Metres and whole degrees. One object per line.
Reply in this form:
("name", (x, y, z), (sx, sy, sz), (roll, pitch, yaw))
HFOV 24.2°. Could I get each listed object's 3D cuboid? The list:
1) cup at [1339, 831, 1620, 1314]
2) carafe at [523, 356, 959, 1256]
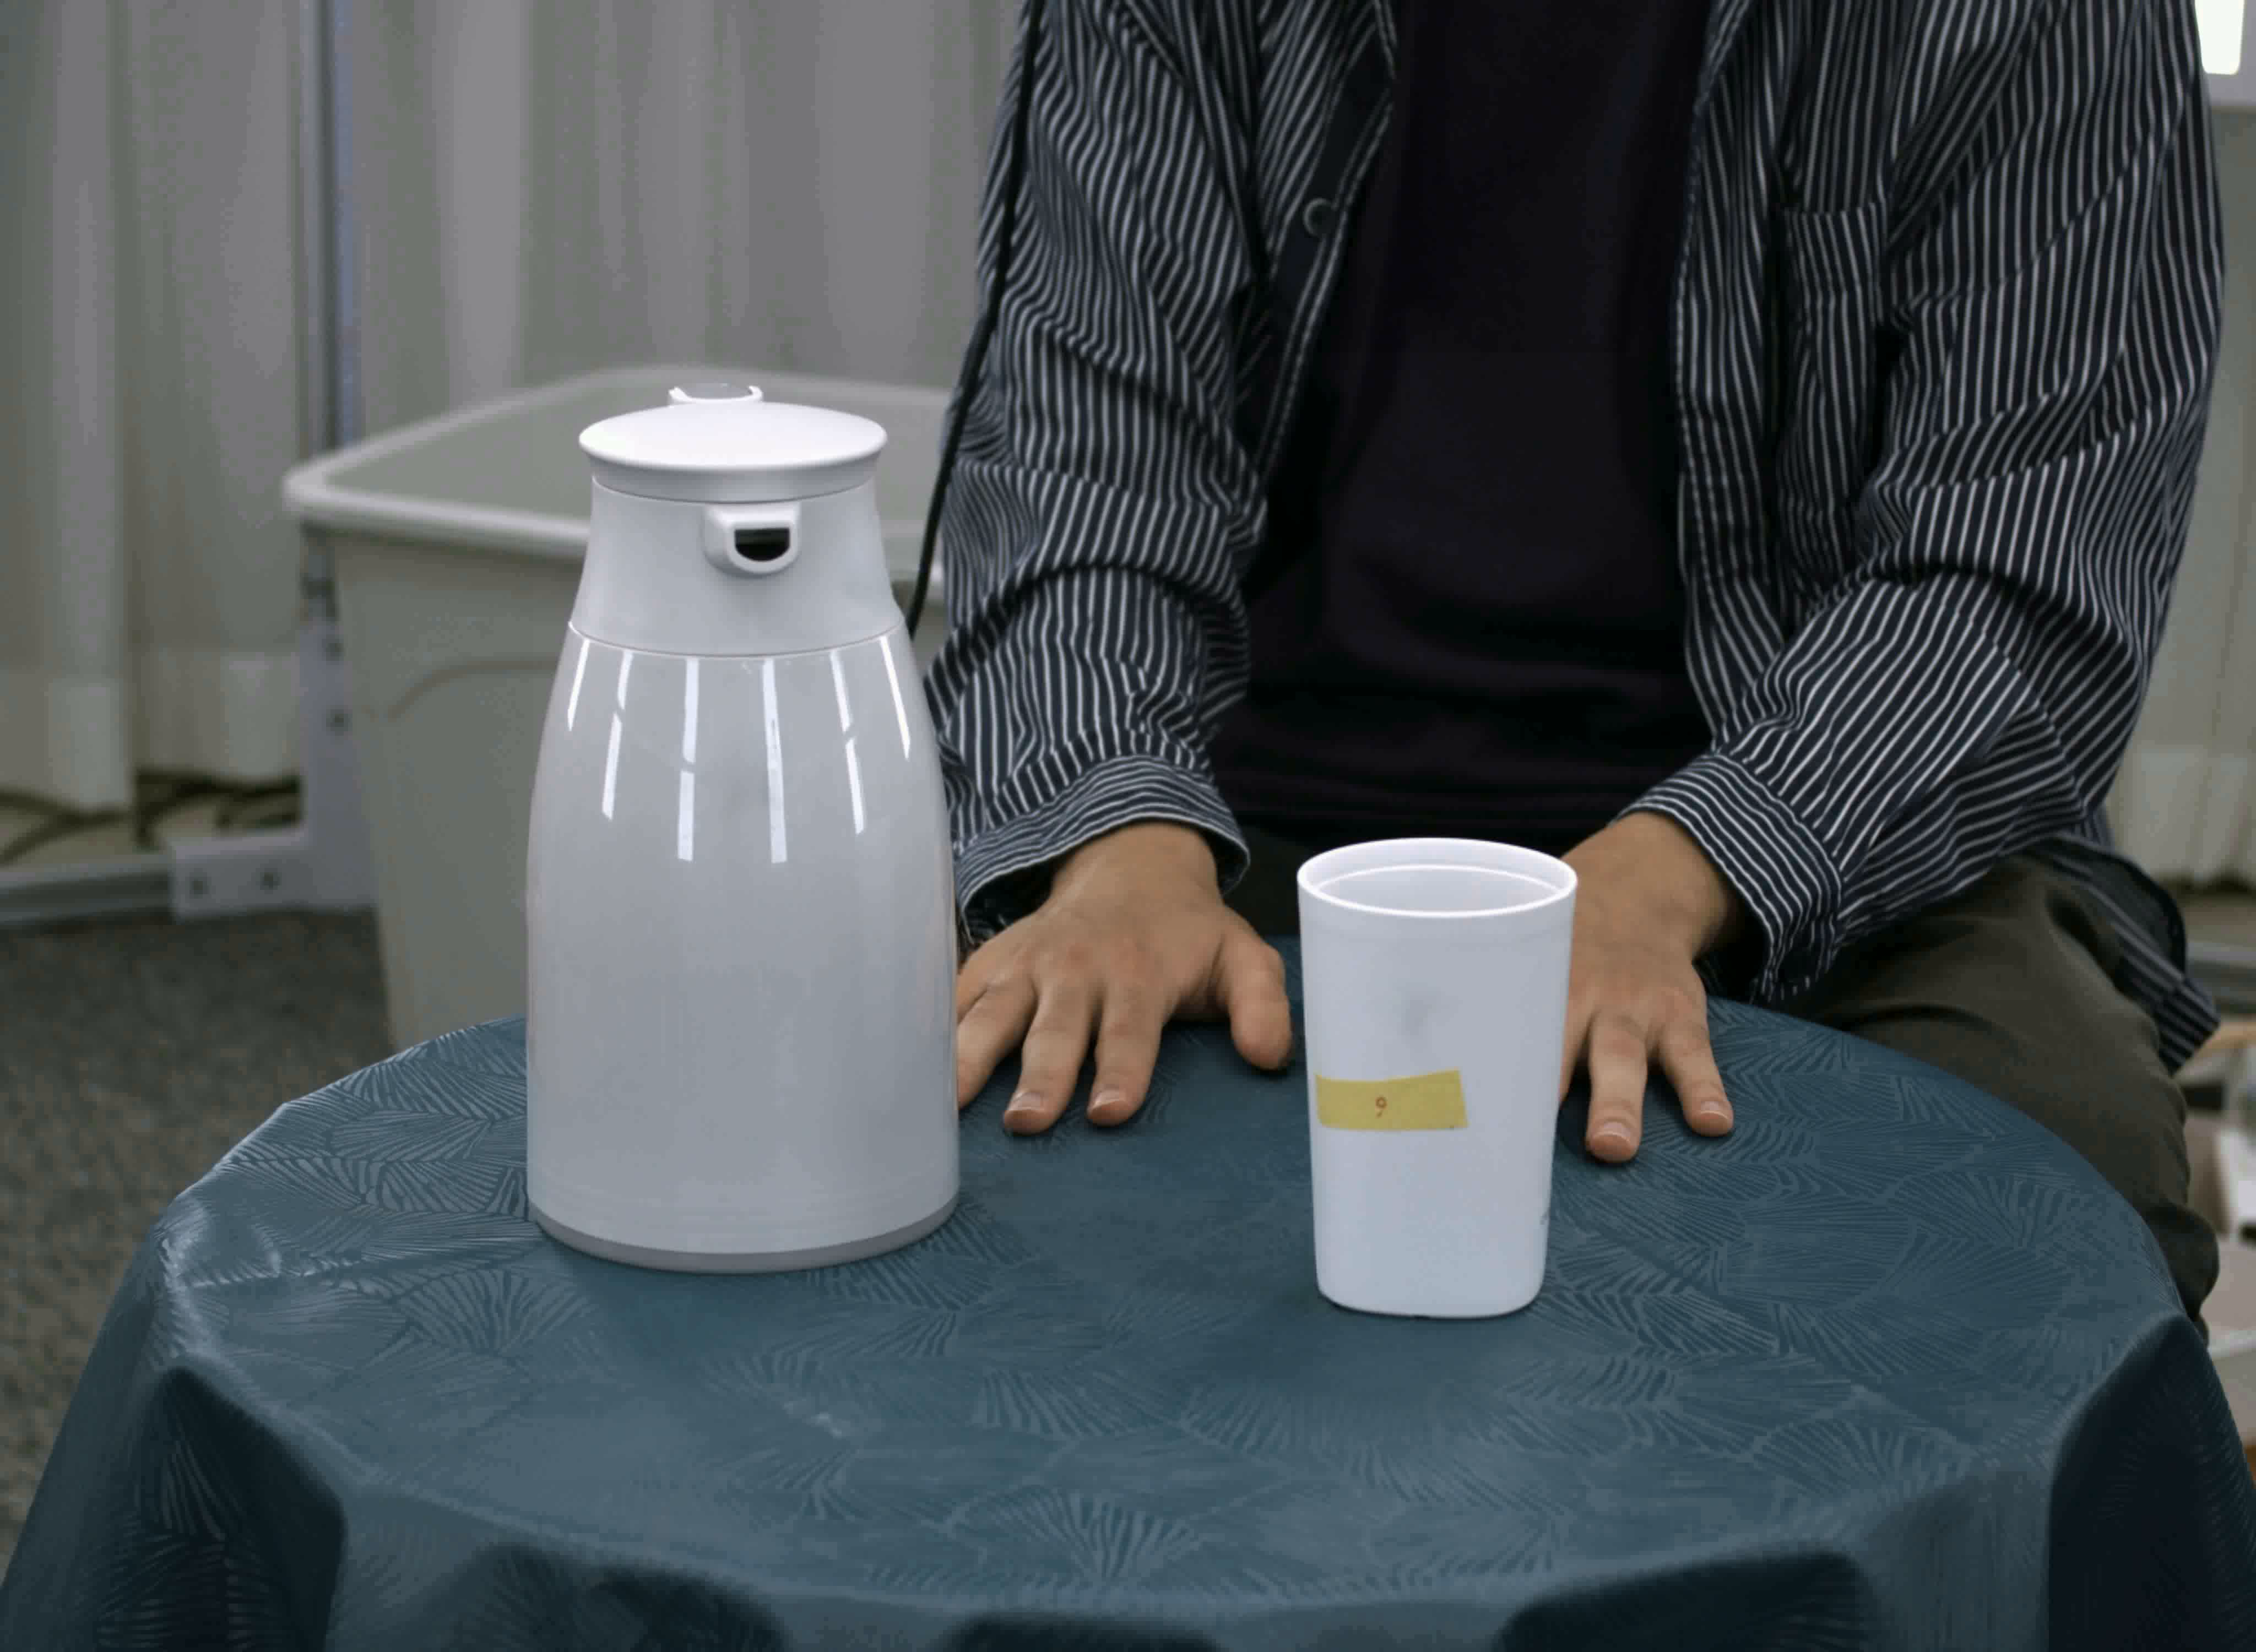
("cup", (0.101, 0.072, 1.532), (0.081, 0.126, 0.081), (0, 16, 1))
("carafe", (-0.125, -0.015, 1.599), (0.133, 0.251, 0.166), (-7, 19, -17))
